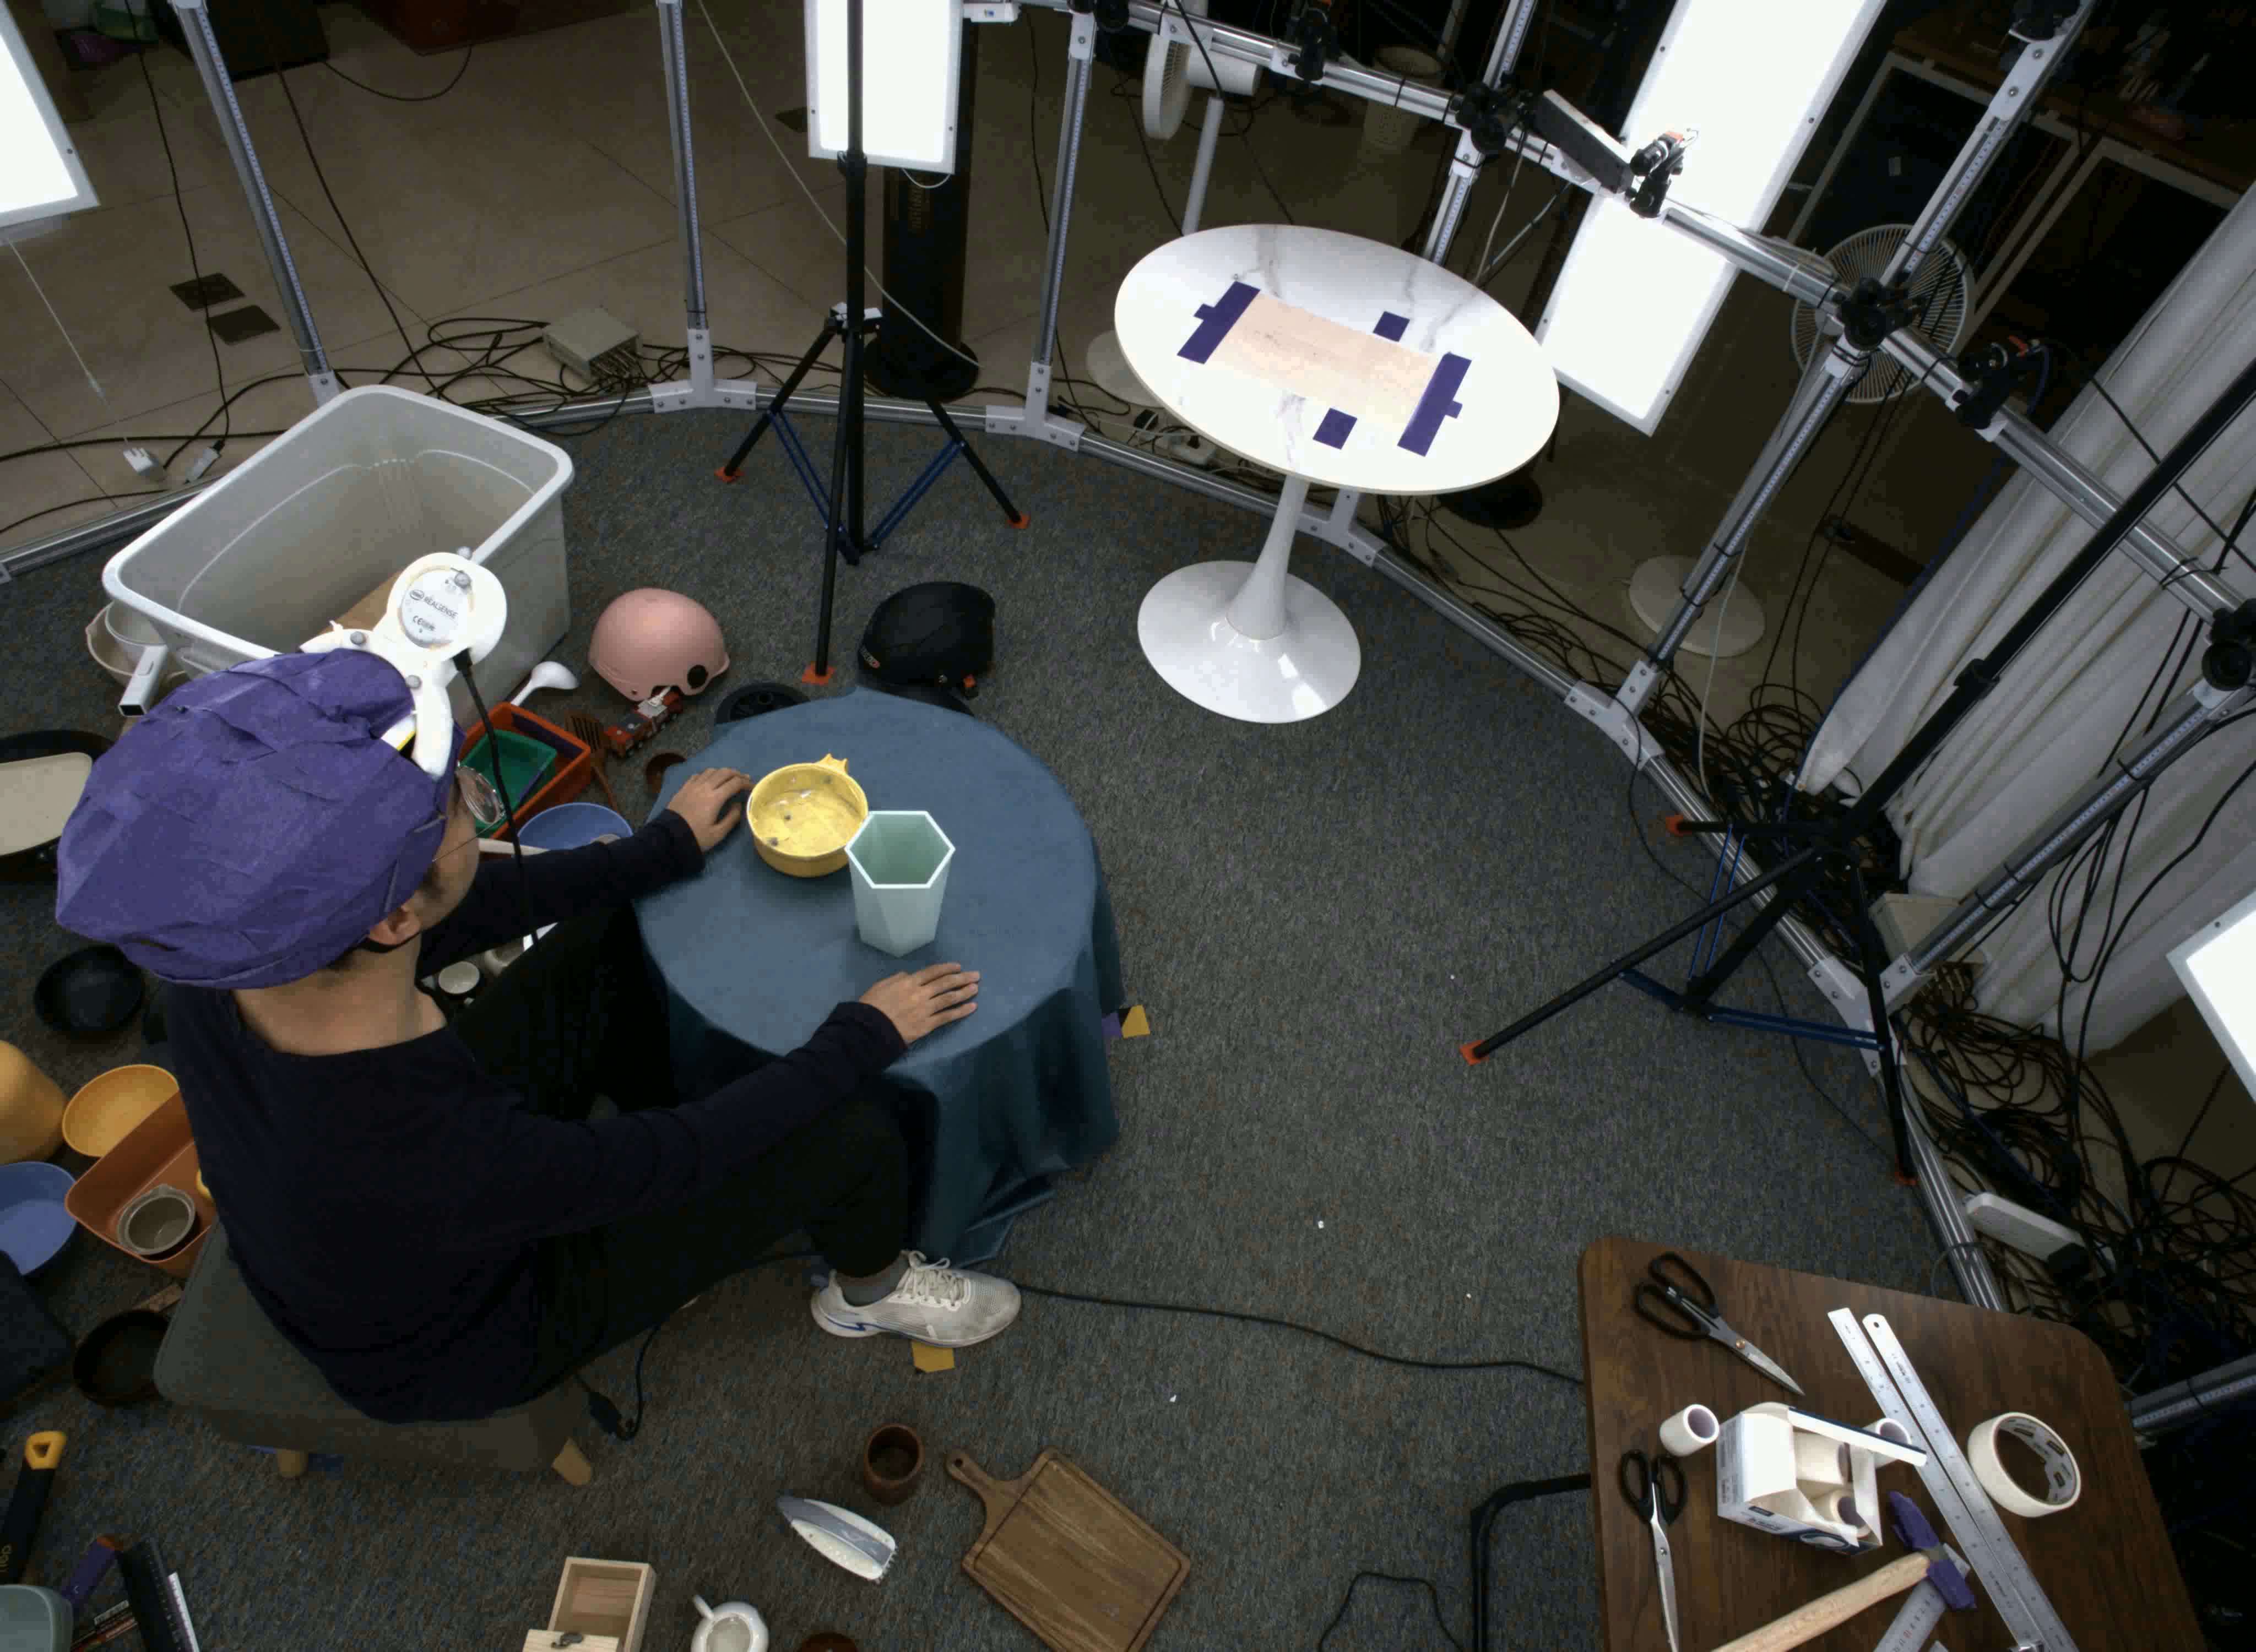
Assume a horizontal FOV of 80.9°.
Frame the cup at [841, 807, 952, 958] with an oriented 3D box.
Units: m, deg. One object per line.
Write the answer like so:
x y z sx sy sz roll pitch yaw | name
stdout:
-0.283 0.072 1.601 0.115 0.167 0.127 -30 63 -28 | cup

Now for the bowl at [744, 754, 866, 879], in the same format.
-0.412 -0.013 1.693 0.151 0.076 0.177 14 53 2 | bowl
